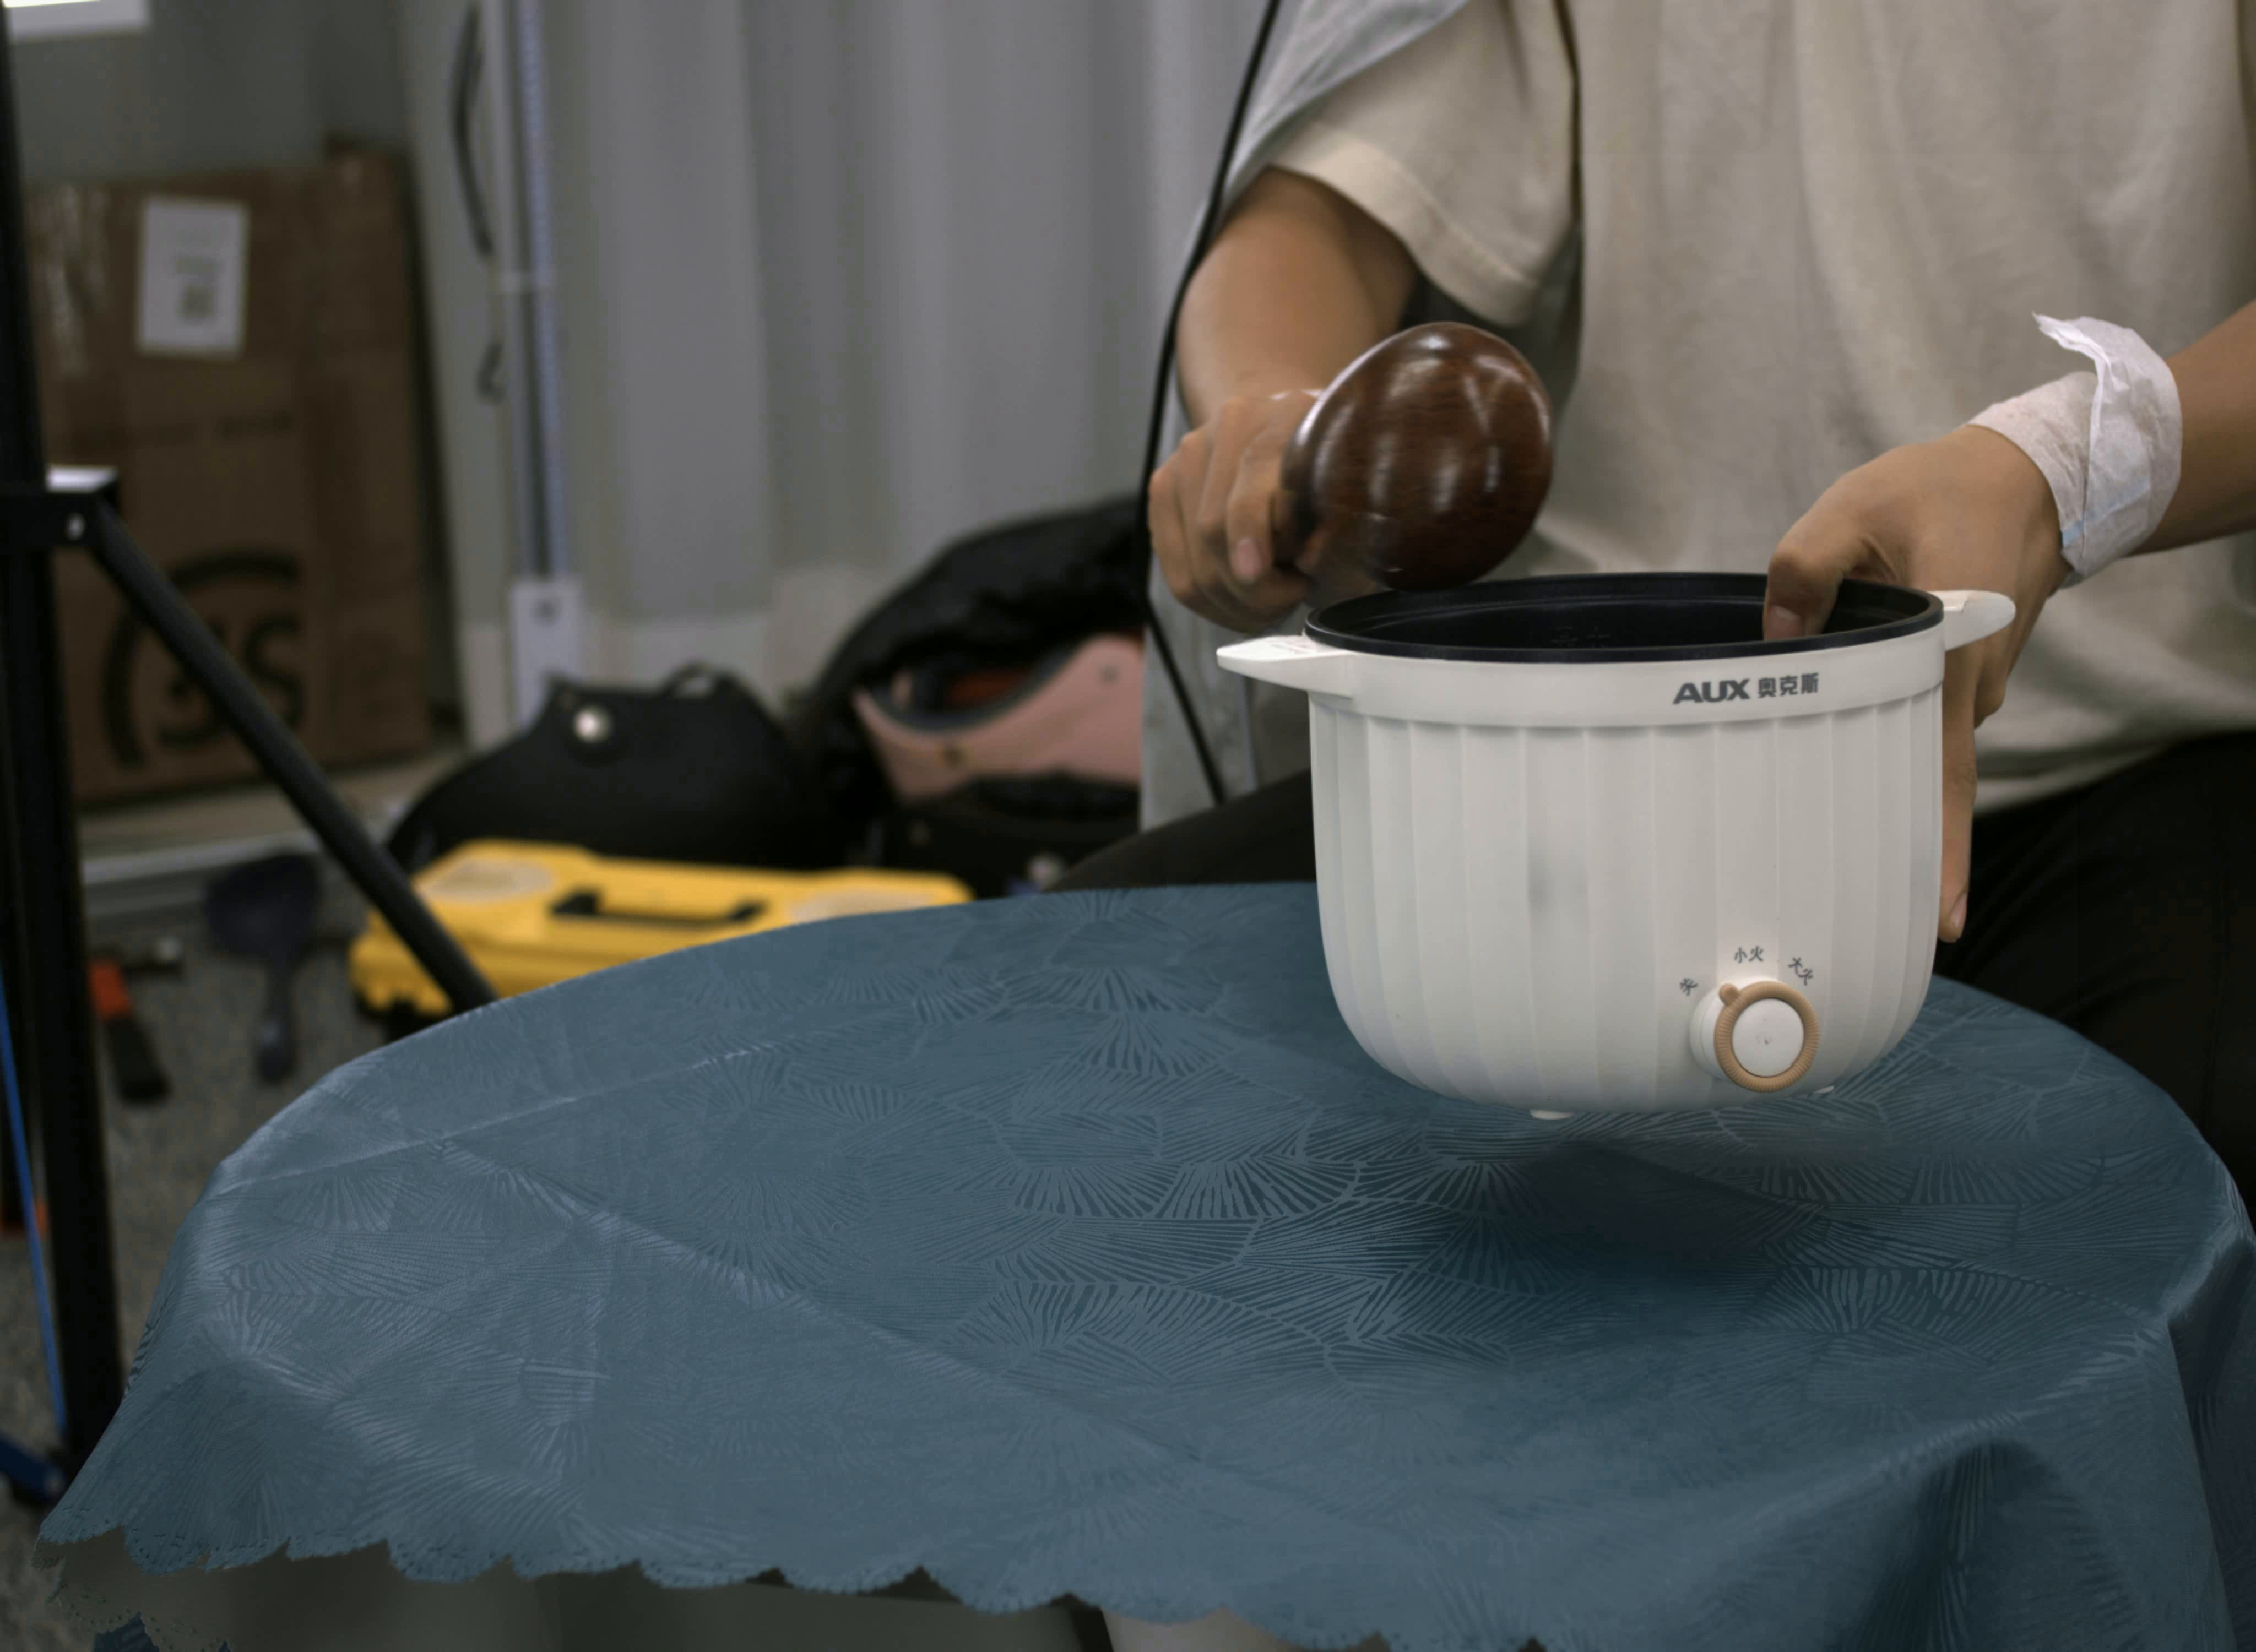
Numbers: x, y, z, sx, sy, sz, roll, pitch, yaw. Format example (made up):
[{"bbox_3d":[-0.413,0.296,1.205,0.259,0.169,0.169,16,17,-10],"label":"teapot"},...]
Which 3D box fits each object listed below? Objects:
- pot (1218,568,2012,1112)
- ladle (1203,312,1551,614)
[{"bbox_3d":[0.145,0.003,1.501,0.236,0.143,0.193,-6,6,-15],"label":"pot"},{"bbox_3d":[0.075,-0.097,1.662,0.076,0.082,0.274,15,-9,-2],"label":"ladle"}]
